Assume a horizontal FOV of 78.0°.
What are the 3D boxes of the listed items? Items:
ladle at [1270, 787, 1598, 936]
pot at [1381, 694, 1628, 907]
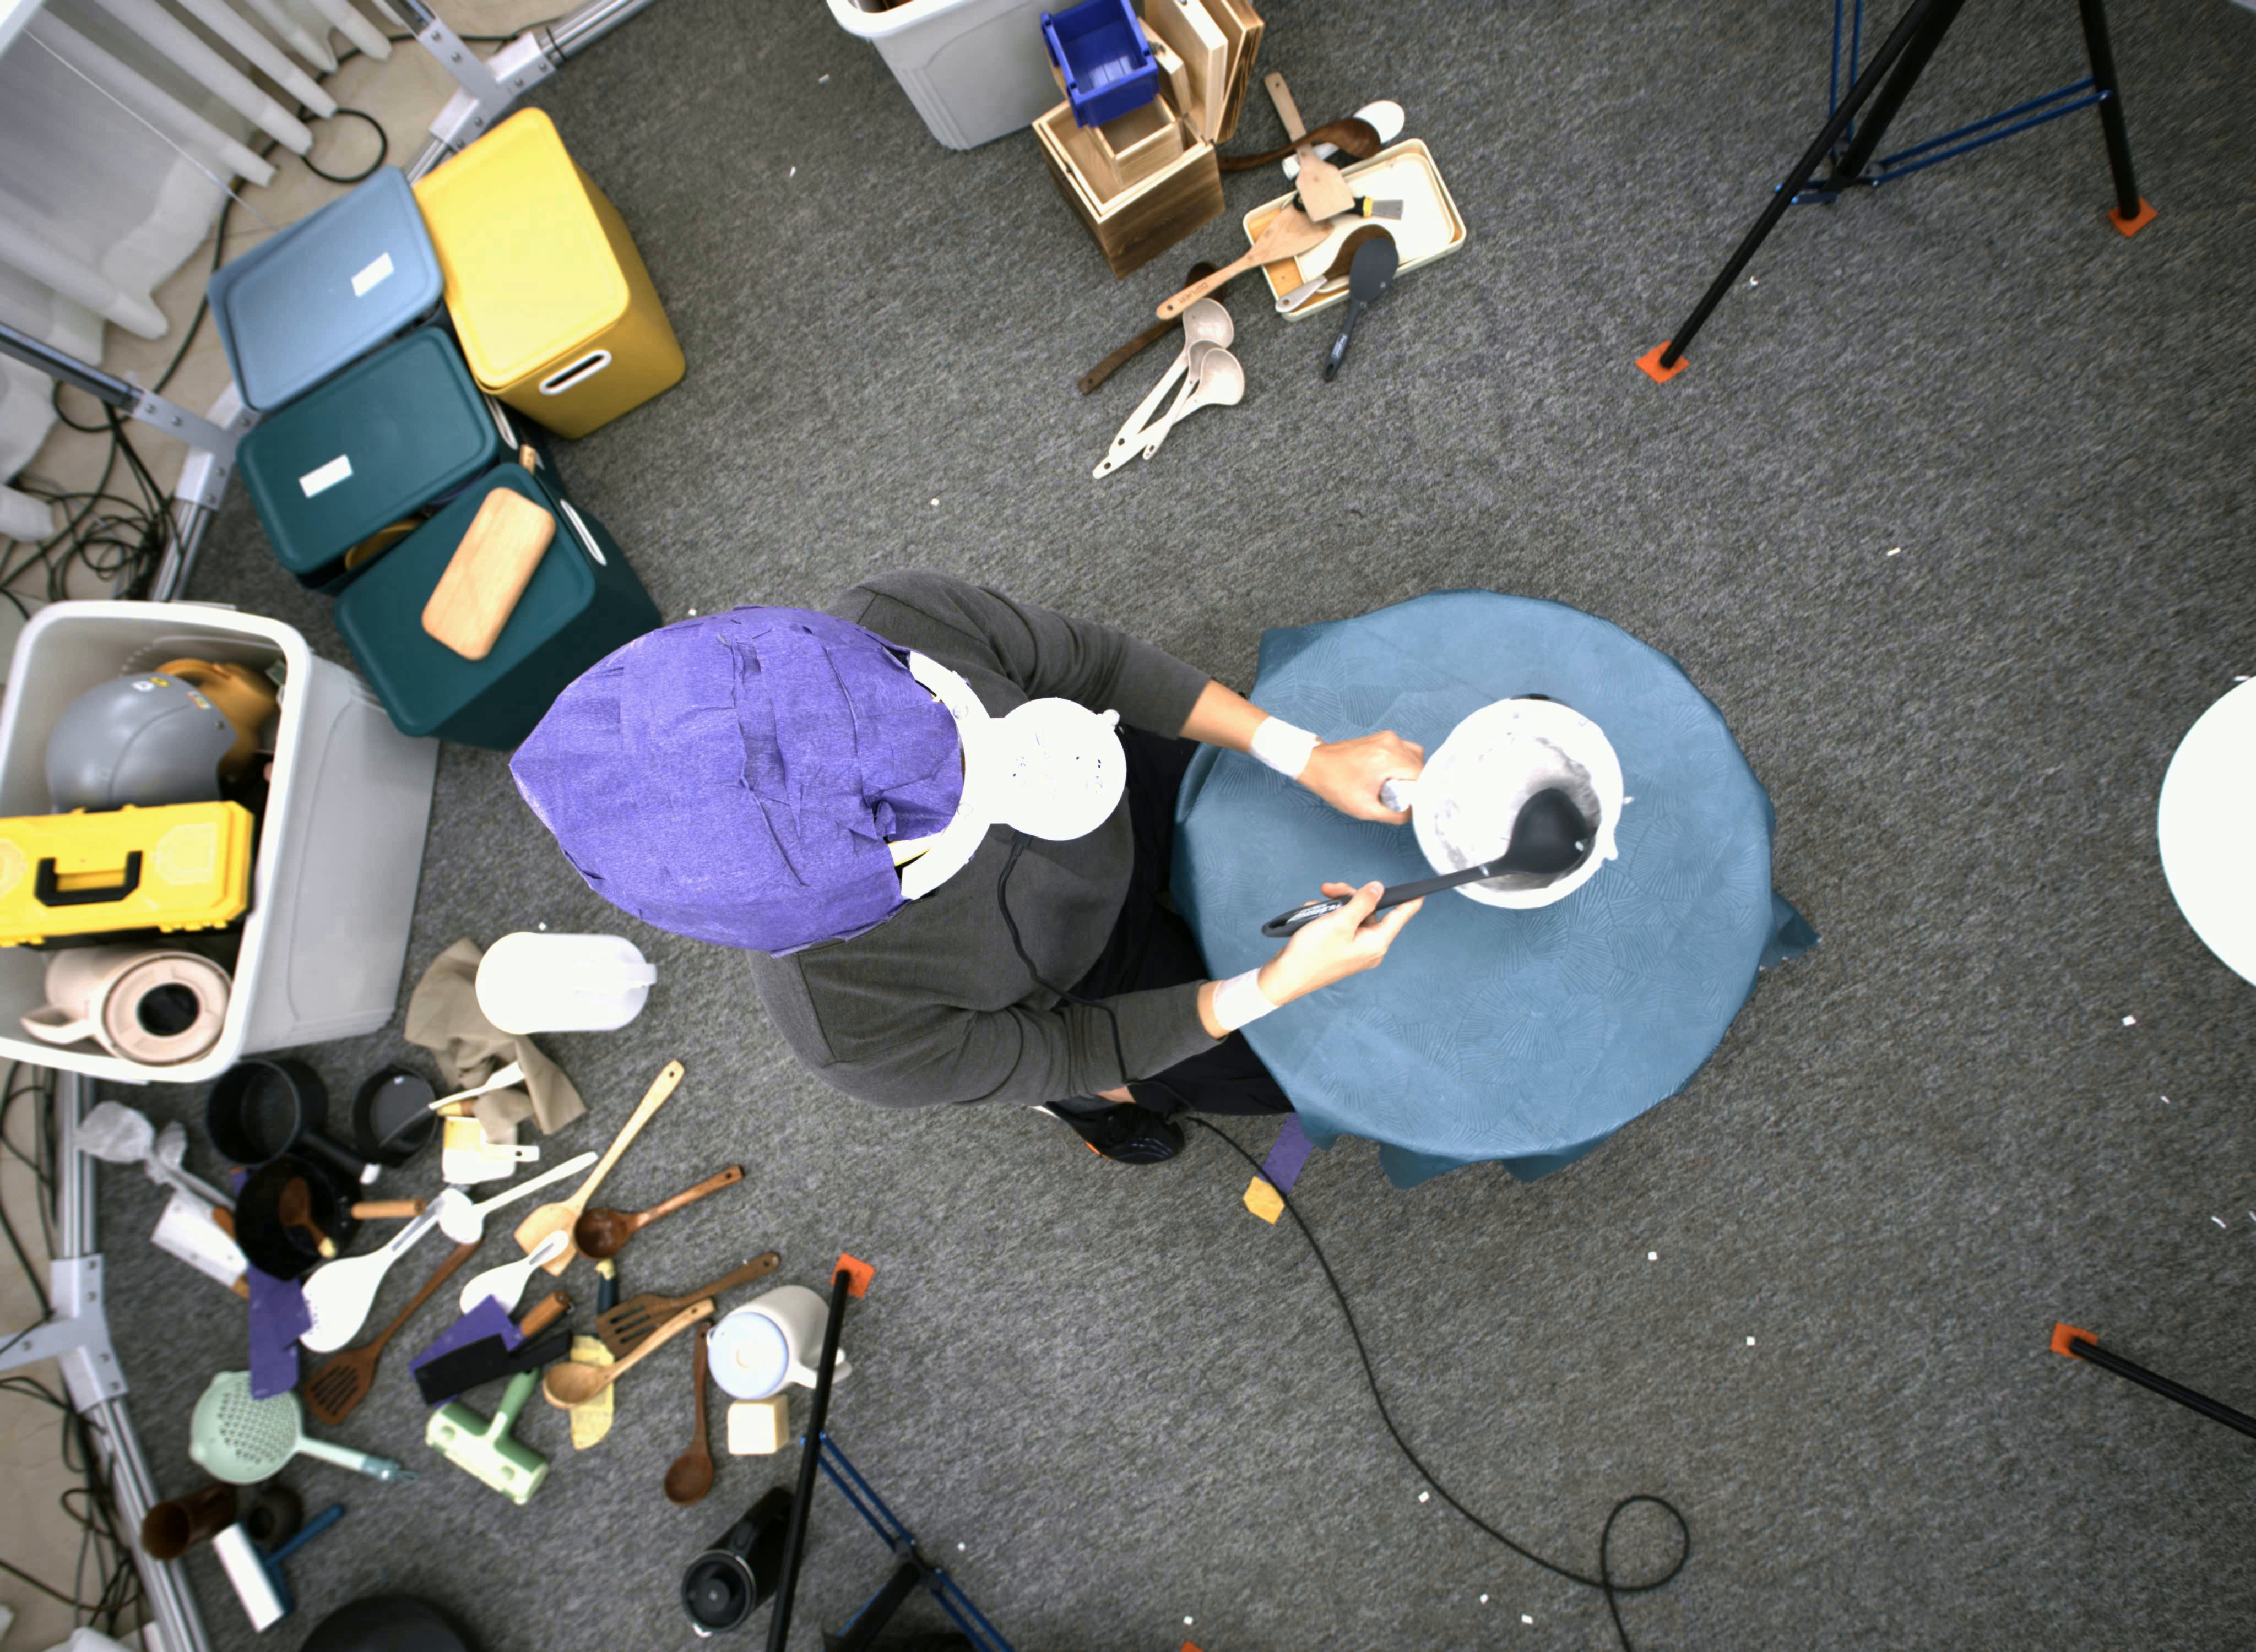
[{"bbox_3d":[0.274,0.037,1.241,0.313,0.065,0.084,-14,42,-10],"label":"ladle"},{"bbox_3d":[0.350,-0.032,1.300,0.234,0.134,0.181,7,109,23],"label":"pot"}]
